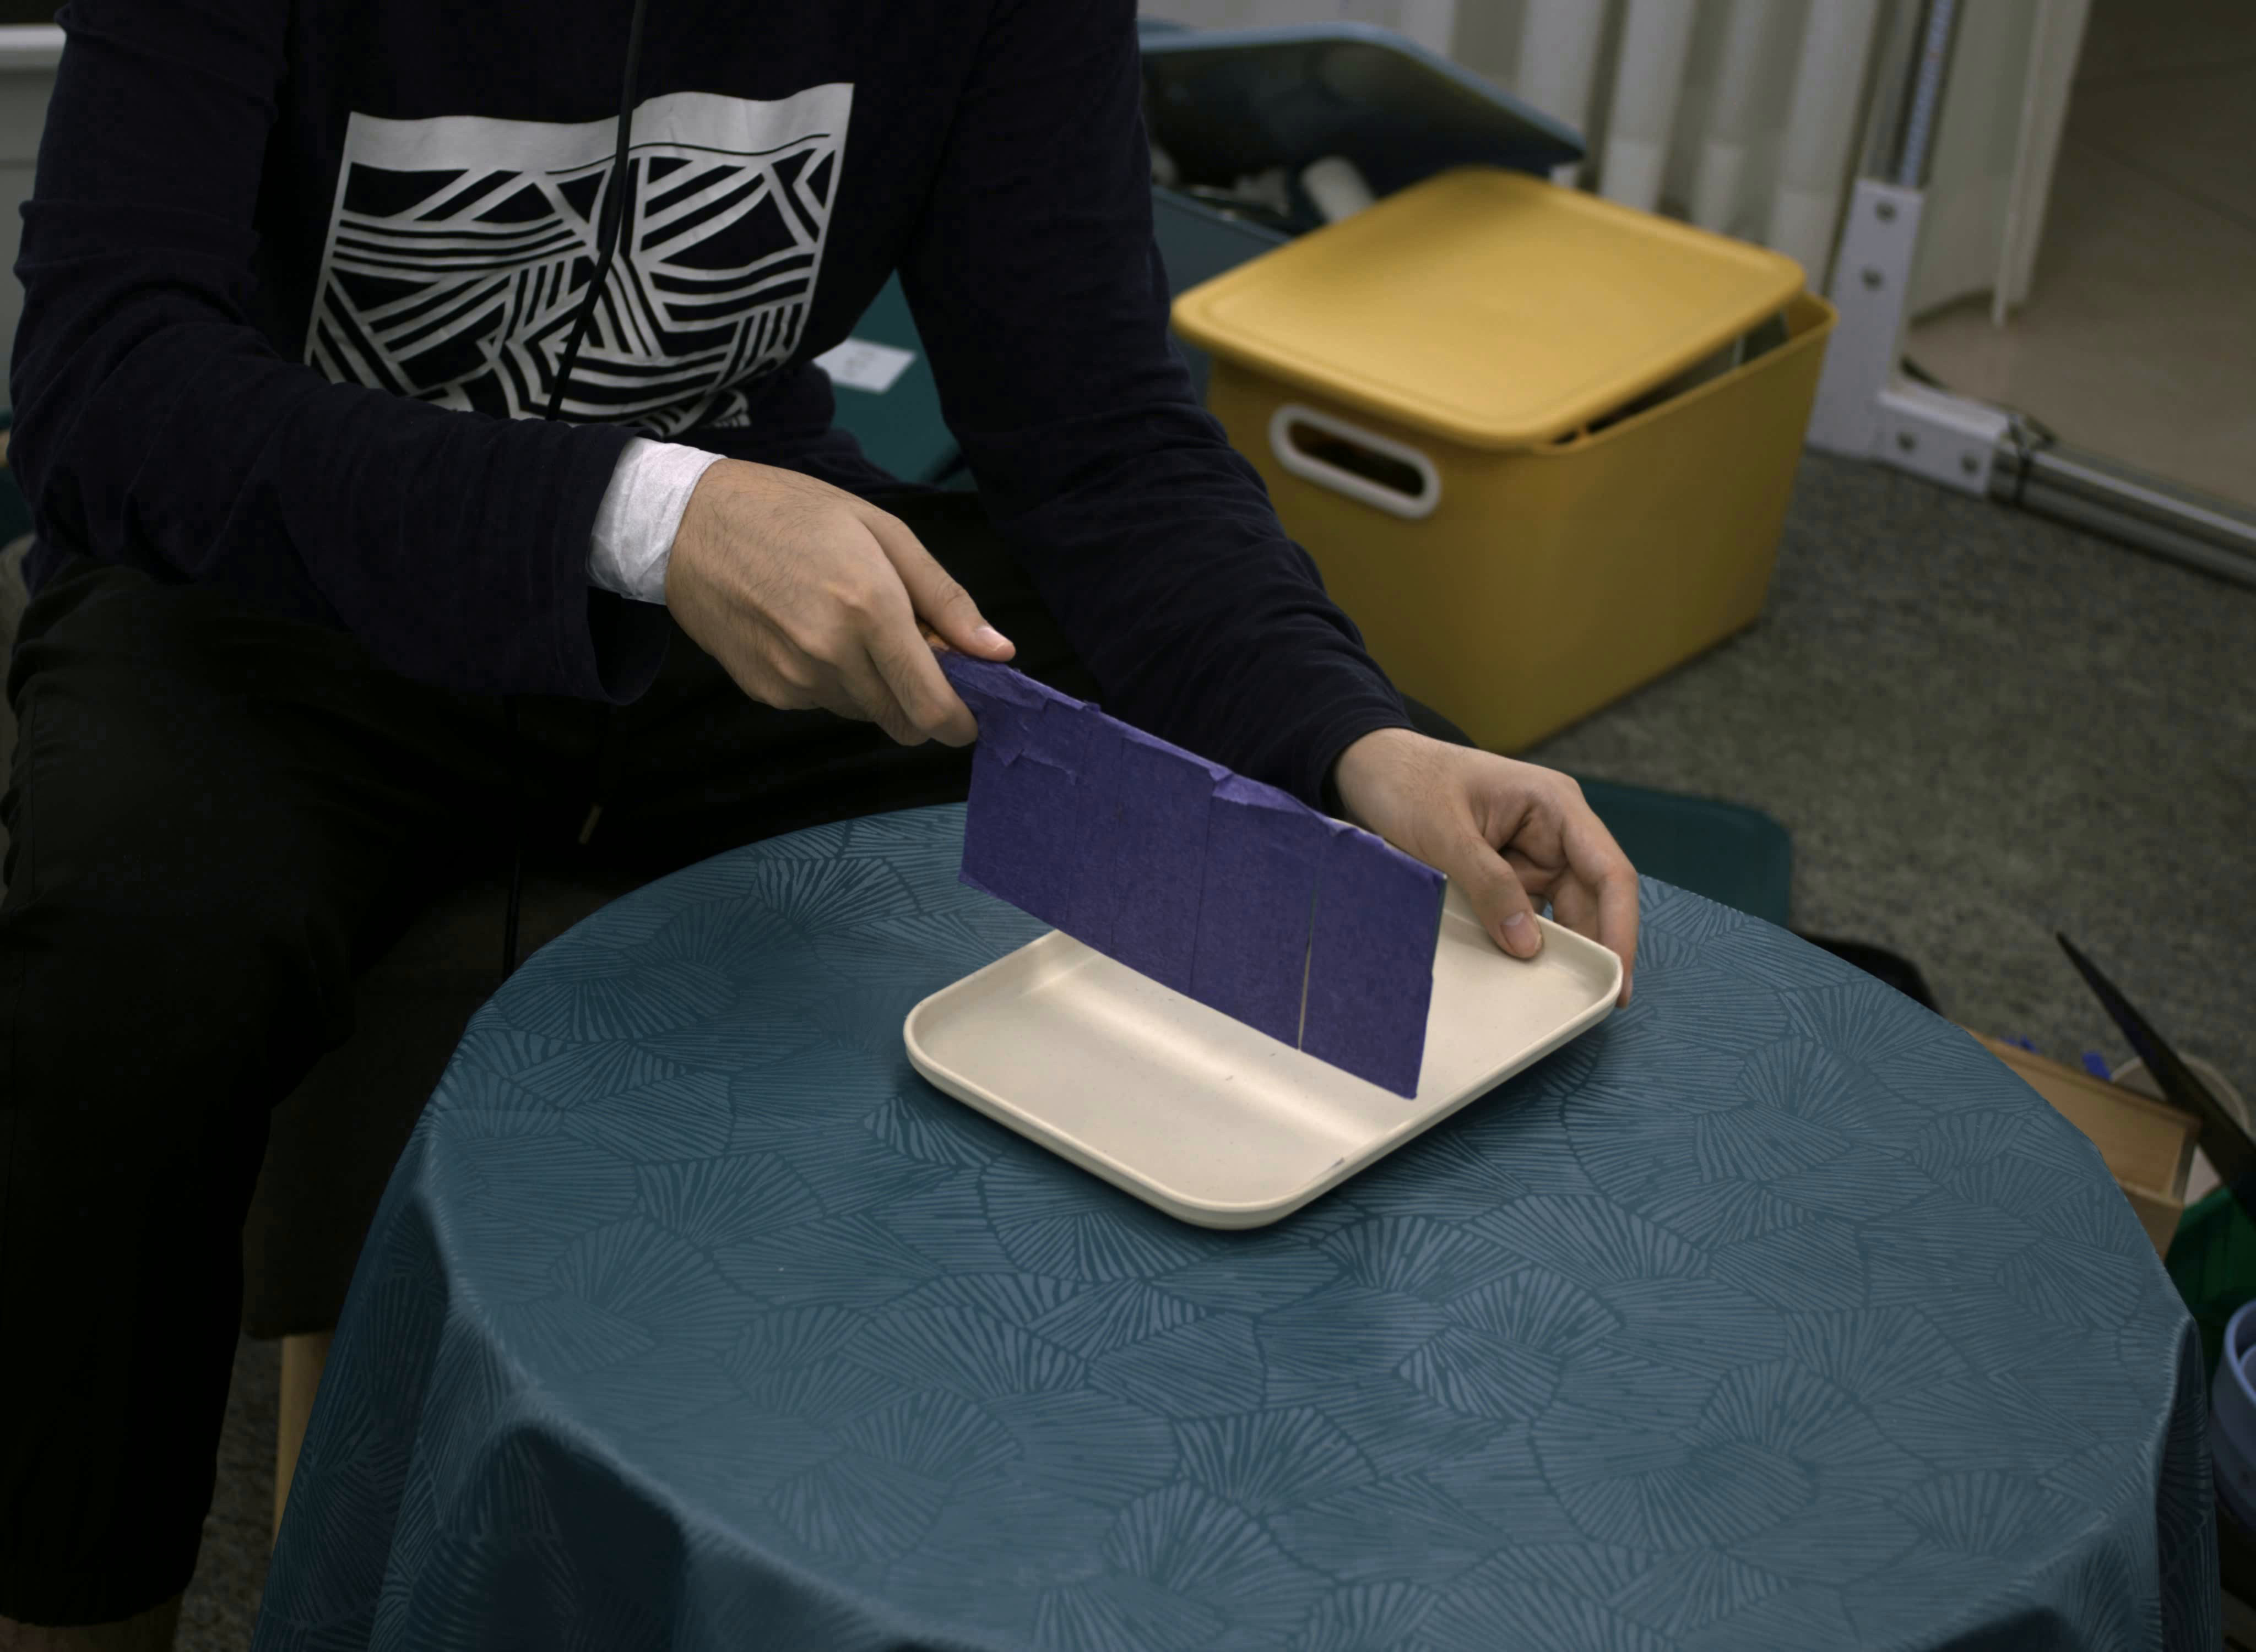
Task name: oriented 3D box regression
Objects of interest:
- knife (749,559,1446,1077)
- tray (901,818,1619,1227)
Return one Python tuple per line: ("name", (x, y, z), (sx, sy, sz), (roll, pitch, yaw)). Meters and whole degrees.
("knife", (-0.018, -0.001, 1.877), (0.317, 0.103, 0.032), (27, 31, 35))
("tray", (0.048, 0.068, 1.891), (0.172, 0.017, 0.239), (26, 36, 34))
